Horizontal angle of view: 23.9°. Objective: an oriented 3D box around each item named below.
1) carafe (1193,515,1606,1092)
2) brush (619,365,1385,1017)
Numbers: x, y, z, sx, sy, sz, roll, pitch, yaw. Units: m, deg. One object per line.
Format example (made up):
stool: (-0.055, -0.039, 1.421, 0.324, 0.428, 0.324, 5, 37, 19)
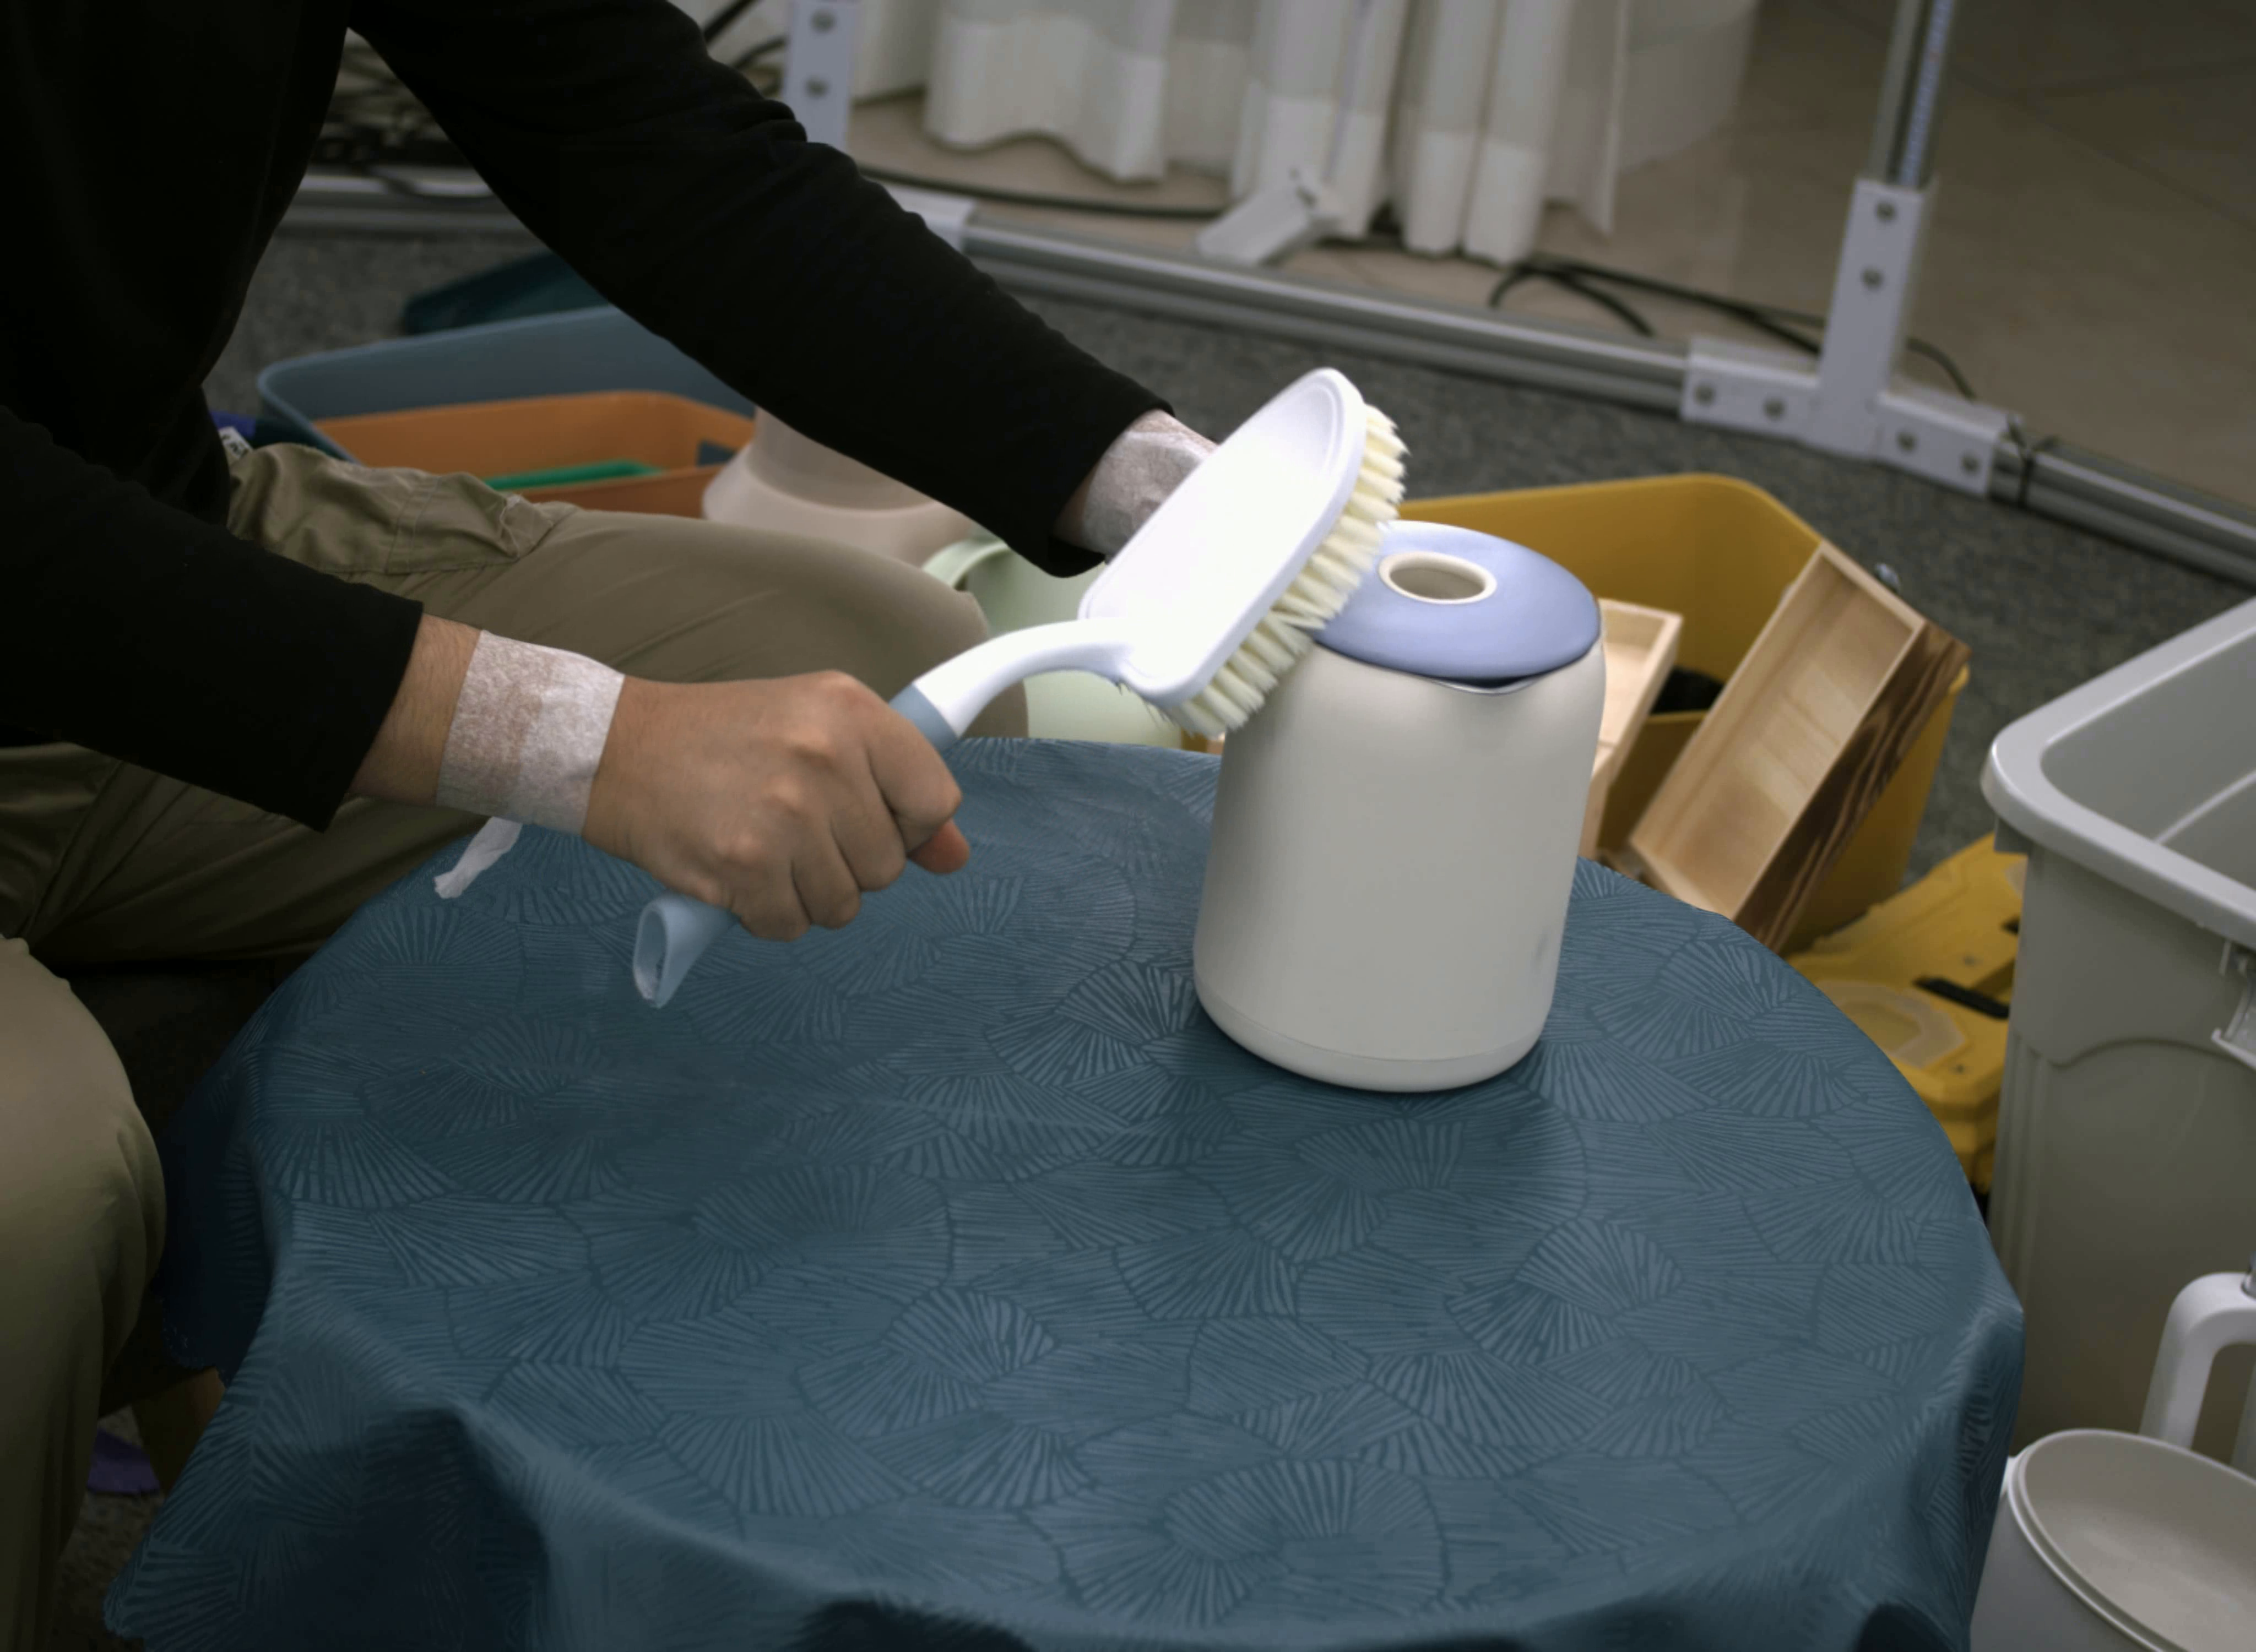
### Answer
carafe: (0.089, -0.020, 1.913, 0.131, 0.182, 0.193, -2, 27, -18)
brush: (-0.037, -0.031, 1.818, 0.325, 0.084, 0.083, -42, 3, -7)
